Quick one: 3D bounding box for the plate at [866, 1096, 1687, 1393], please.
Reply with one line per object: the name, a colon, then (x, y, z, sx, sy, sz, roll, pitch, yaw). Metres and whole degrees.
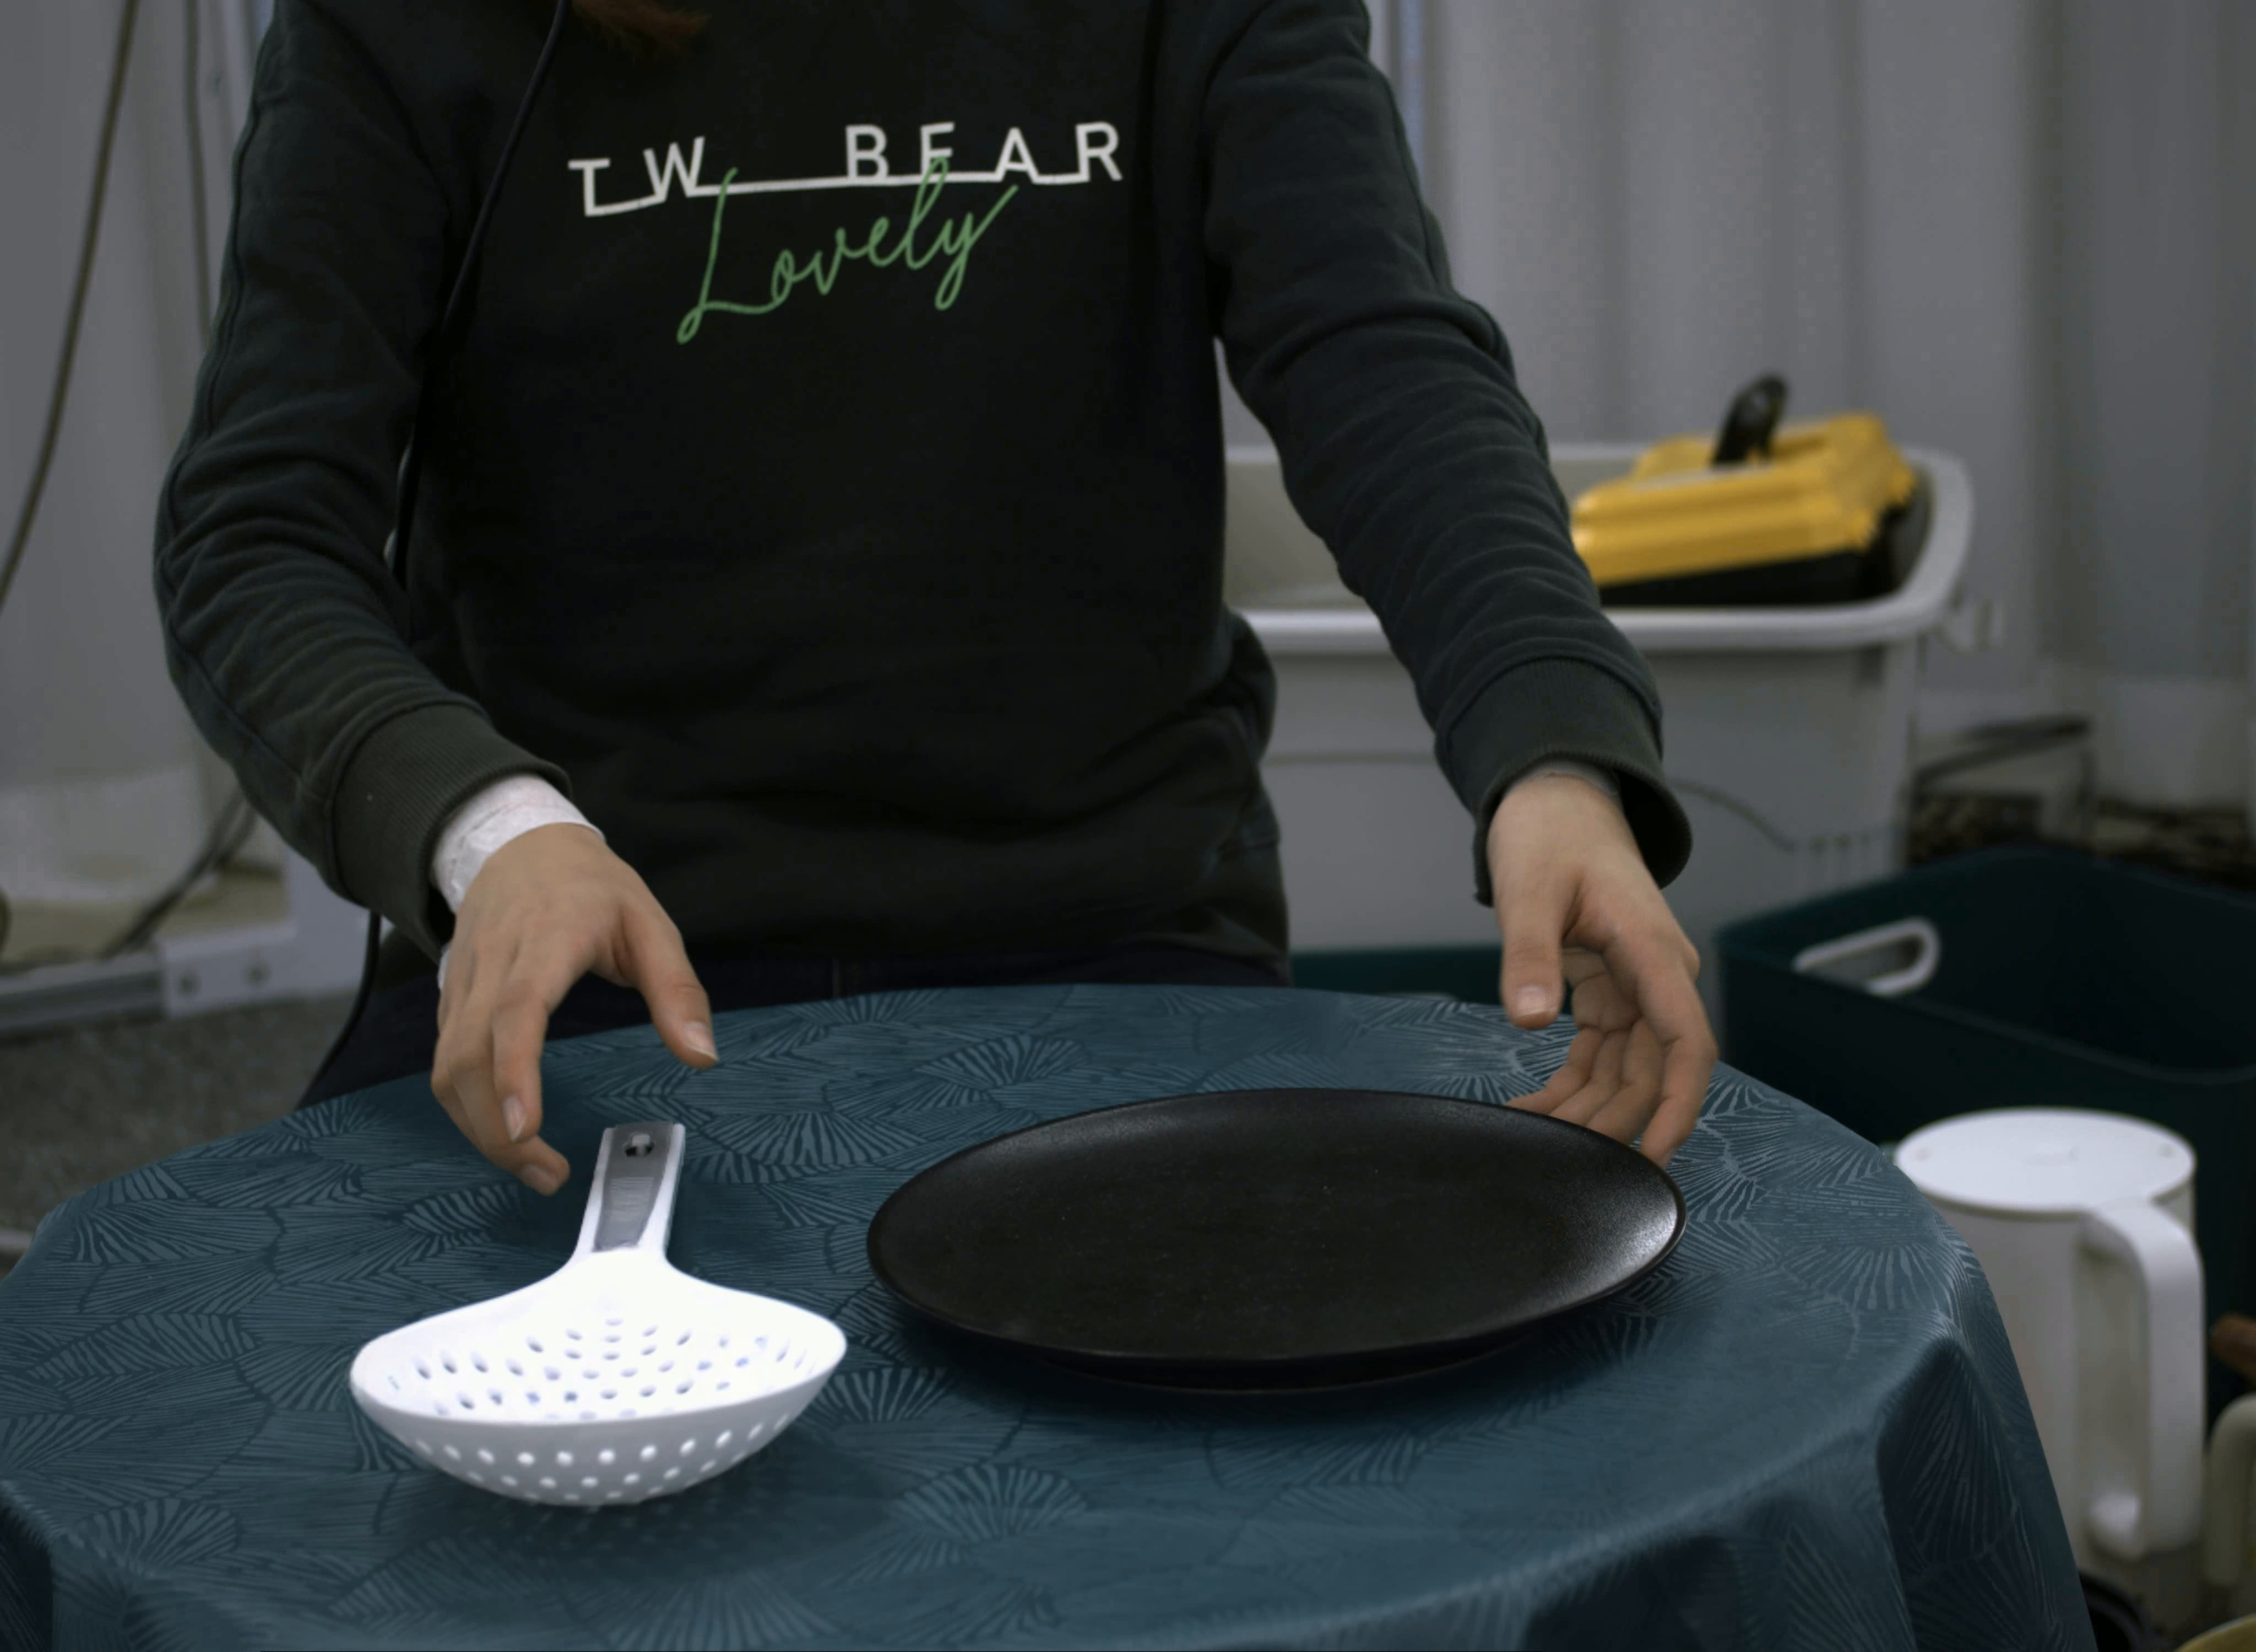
plate: (0.044, 0.126, 1.620, 0.243, 0.023, 0.246, -3, 15, 0)

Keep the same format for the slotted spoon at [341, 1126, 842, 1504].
slotted spoon: (-0.149, 0.132, 1.589, 0.135, 0.045, 0.352, -1, 14, -2)
